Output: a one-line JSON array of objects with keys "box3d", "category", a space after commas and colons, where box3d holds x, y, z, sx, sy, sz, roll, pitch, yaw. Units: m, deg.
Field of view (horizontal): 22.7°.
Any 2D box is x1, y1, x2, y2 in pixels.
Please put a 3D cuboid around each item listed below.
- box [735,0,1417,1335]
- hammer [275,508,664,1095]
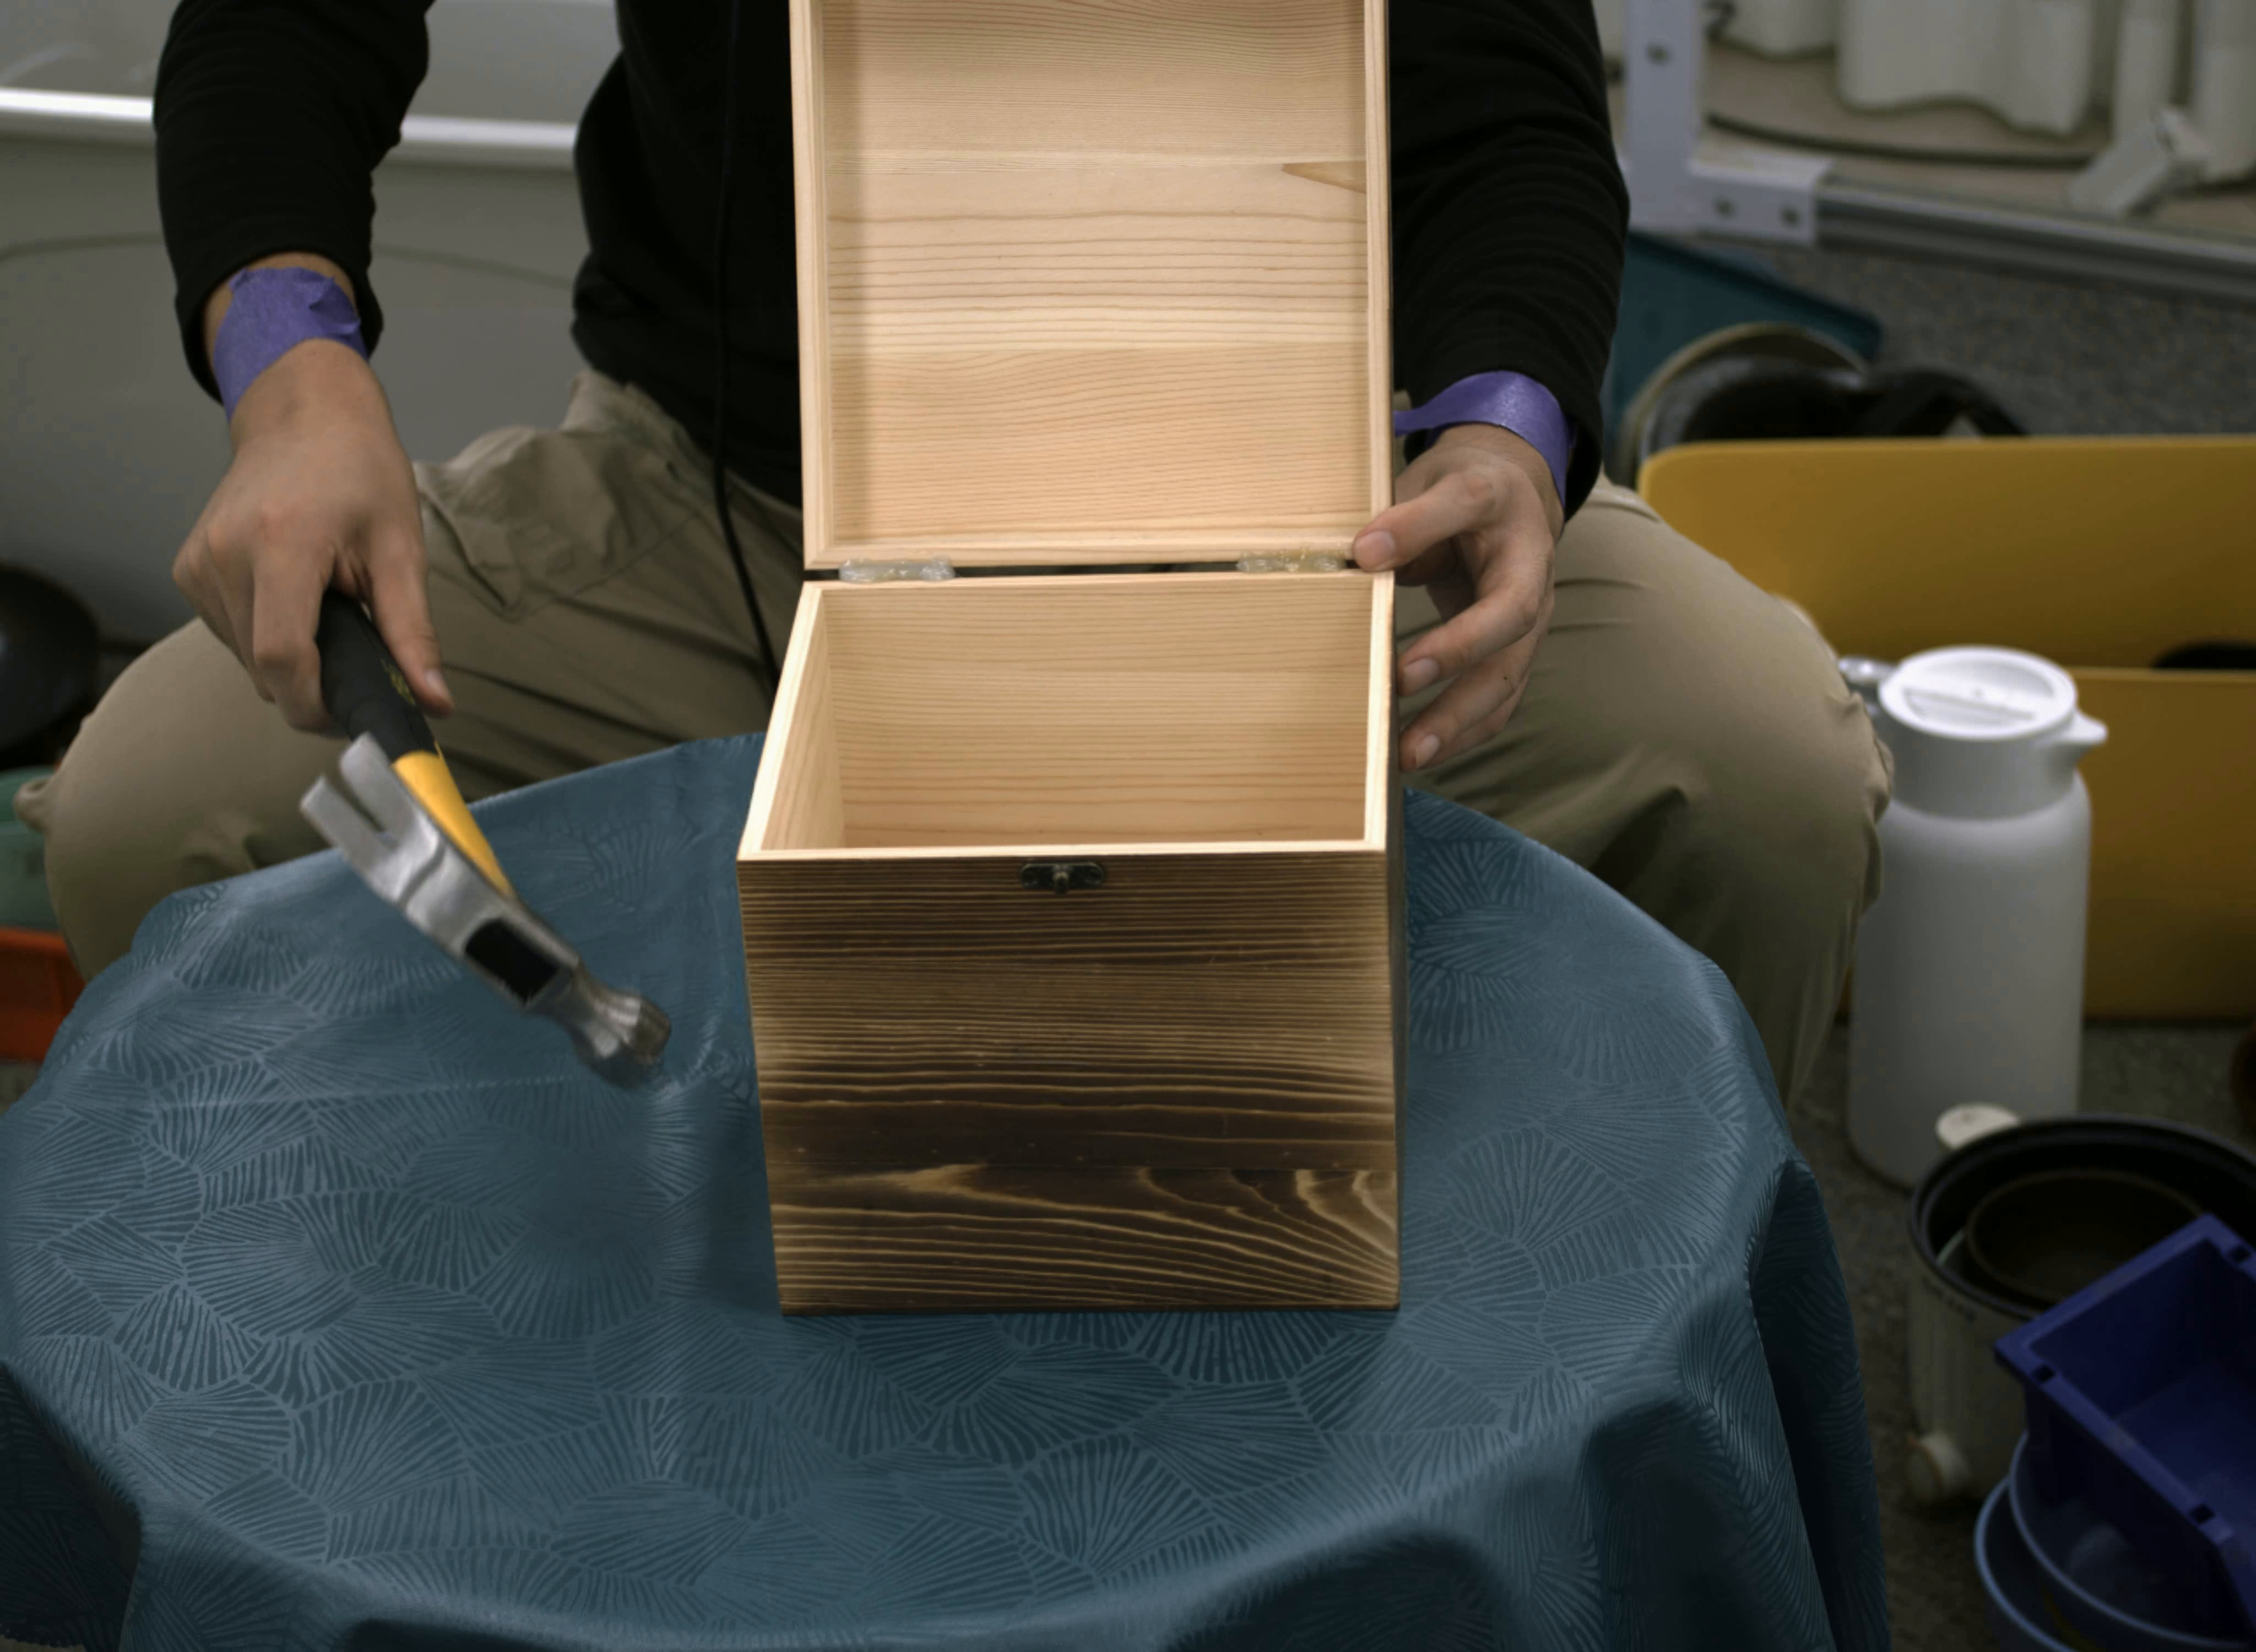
[{"box3d": [-0.015, -0.072, 1.852, 0.207, 0.372, 0.327, -2, 25, 4], "category": "box"}, {"box3d": [-0.245, -0.029, 1.914, 0.032, 0.130, 0.342, -44, 31, 6], "category": "hammer"}]
